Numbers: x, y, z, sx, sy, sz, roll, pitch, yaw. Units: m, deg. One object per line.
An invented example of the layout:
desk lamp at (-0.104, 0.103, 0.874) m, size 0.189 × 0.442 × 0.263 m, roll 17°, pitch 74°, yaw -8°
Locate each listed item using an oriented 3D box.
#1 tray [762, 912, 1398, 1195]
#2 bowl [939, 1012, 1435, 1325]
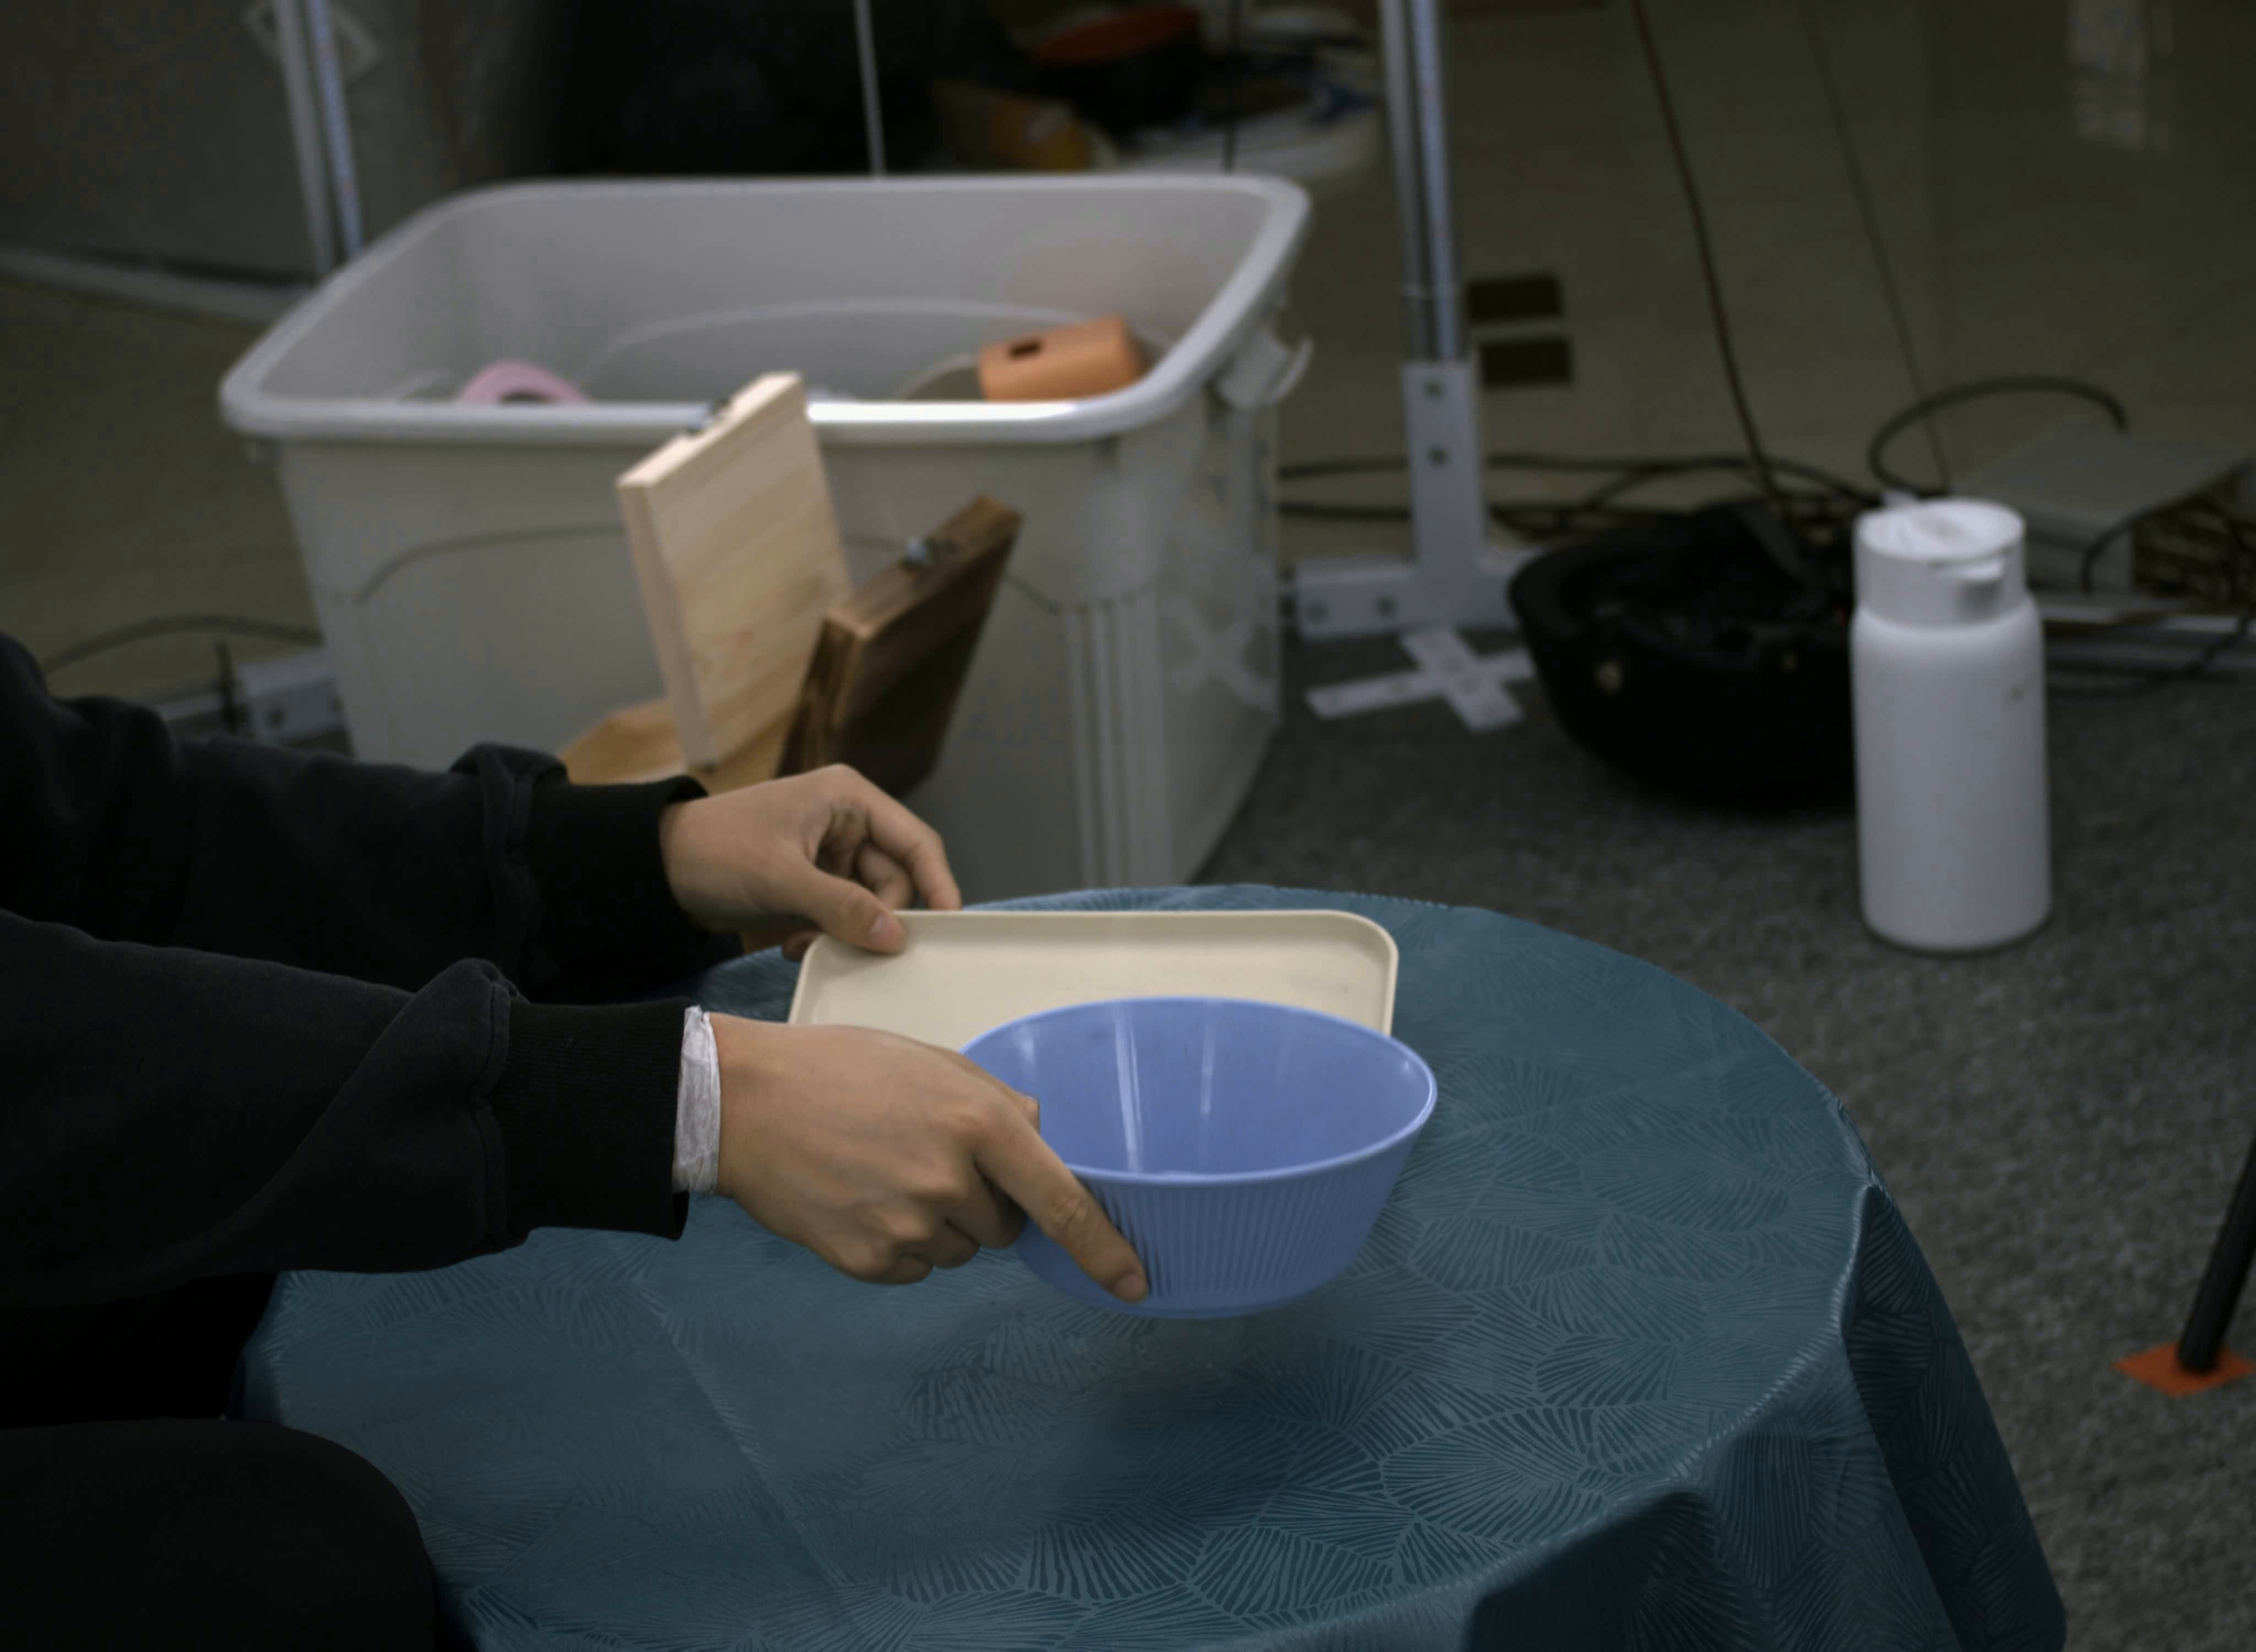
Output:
tray at (-0.016, 0.090, 2.204) m, size 0.239 × 0.018 × 0.168 m, roll 0°, pitch 36°, yaw 8°
bowl at (0.020, 0.125, 2.007) m, size 0.176 × 0.071 × 0.174 m, roll 1°, pitch 18°, yaw 0°
